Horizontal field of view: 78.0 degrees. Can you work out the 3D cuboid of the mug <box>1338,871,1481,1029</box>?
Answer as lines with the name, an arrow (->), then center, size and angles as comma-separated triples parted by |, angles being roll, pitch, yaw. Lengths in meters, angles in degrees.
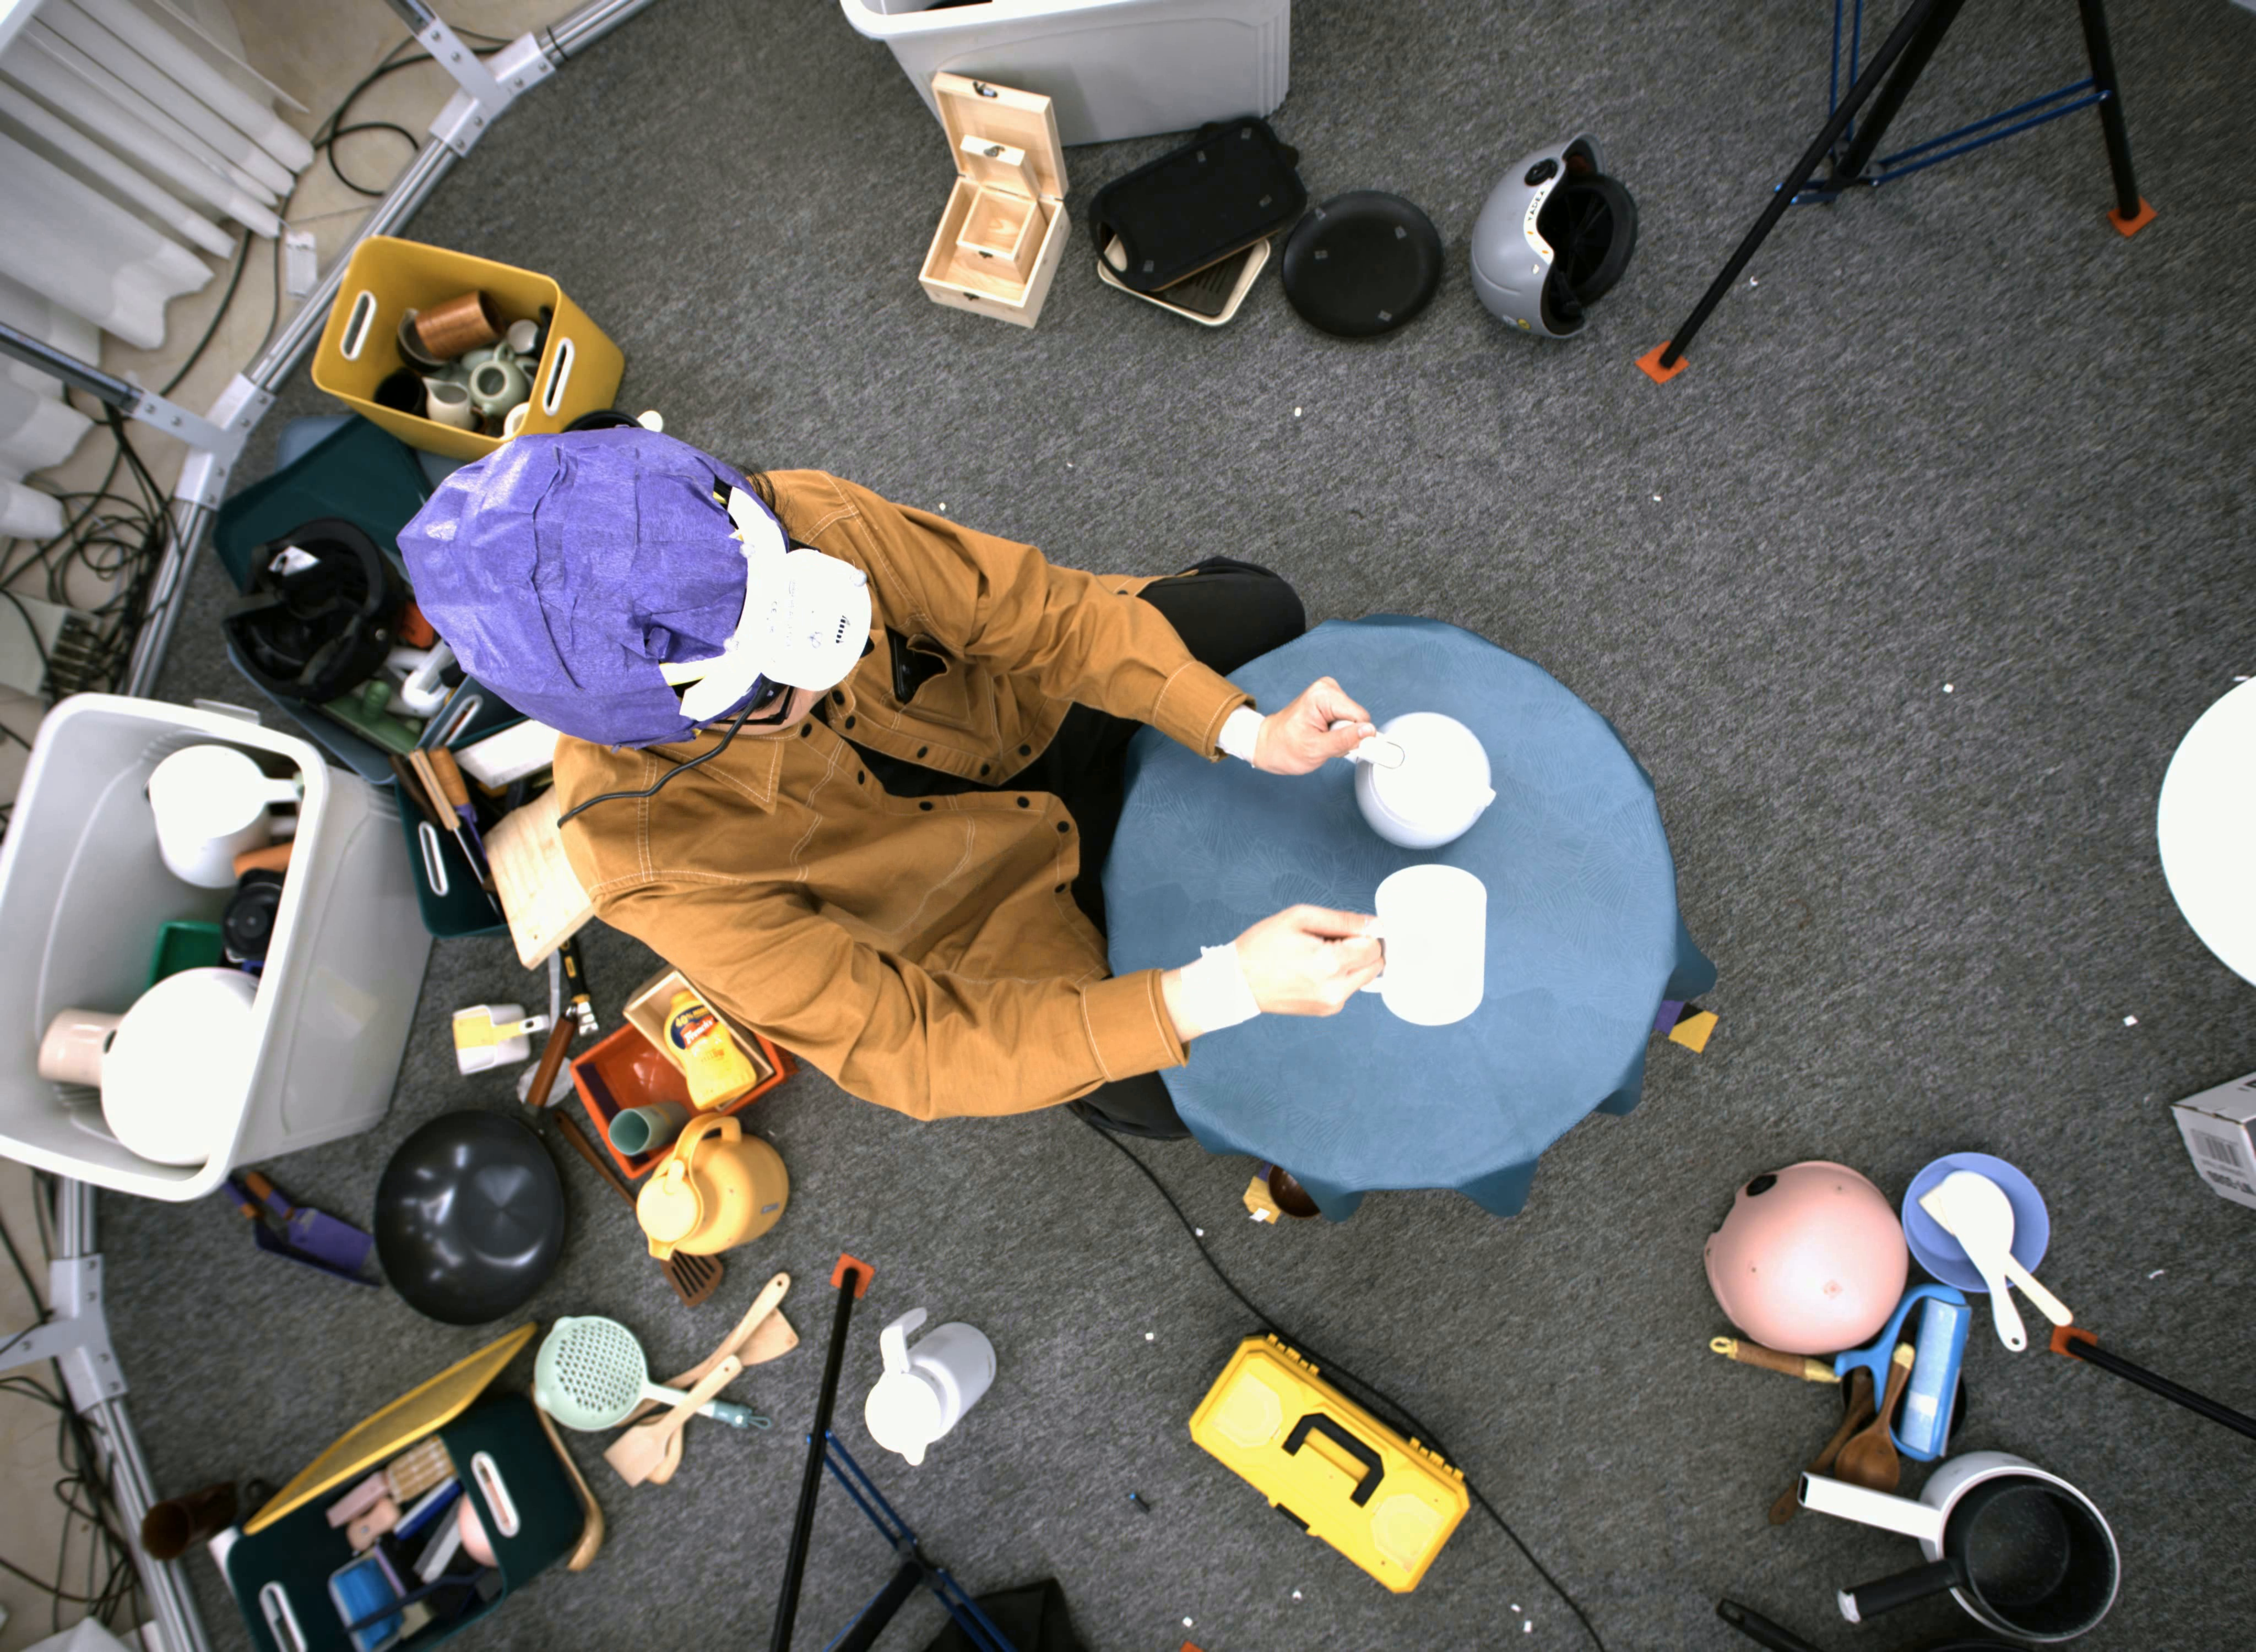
mug -> 0.228, 0.105, 1.119 | 0.118, 0.083, 0.104 | -15, 125, -8

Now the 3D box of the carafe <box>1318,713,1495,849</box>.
carafe -> 0.260, -0.052, 1.301 | 0.167, 0.247, 0.133 | 25, 95, 10
